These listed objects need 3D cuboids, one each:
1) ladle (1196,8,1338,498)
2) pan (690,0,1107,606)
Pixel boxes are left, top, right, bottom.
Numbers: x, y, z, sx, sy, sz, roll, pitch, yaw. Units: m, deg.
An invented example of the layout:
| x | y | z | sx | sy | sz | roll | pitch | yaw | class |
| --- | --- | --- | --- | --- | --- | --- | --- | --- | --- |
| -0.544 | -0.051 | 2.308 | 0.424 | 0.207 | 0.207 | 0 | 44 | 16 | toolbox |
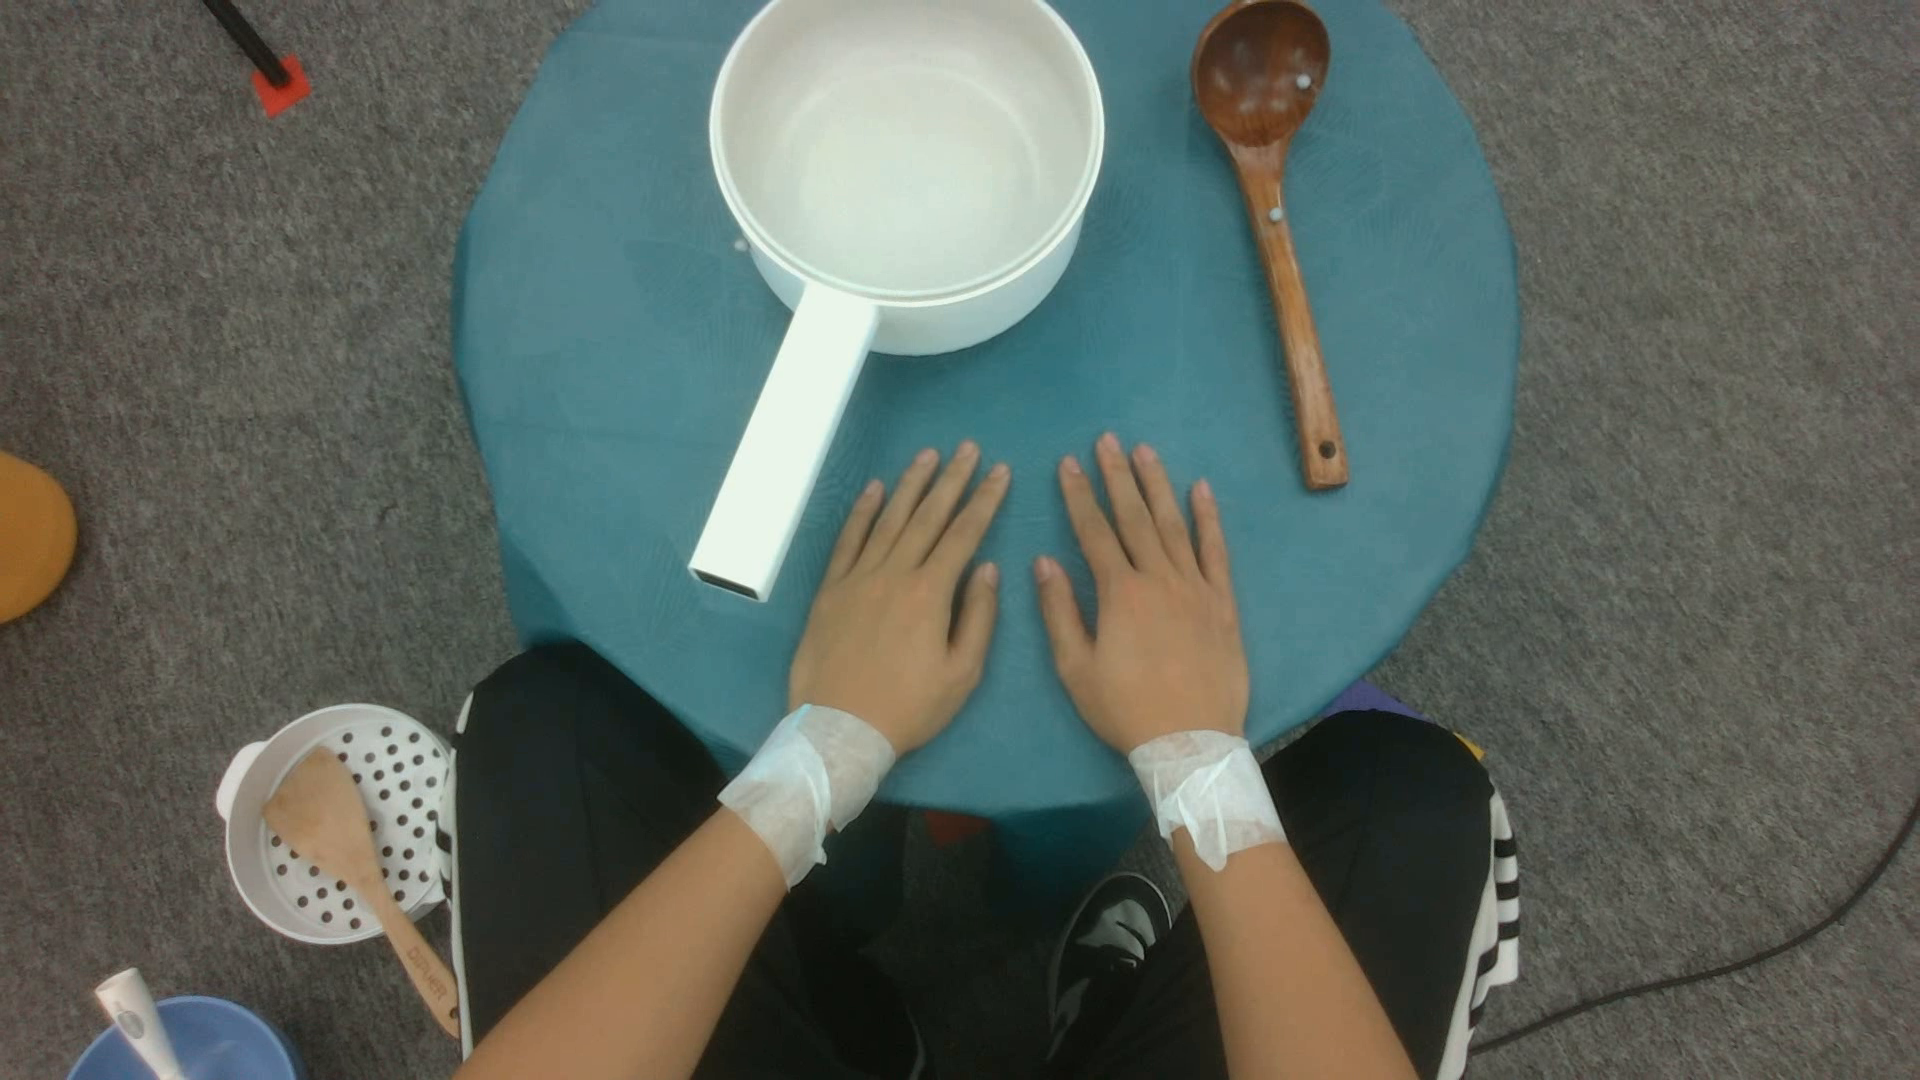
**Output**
| x | y | z | sx | sy | sz | roll | pitch | yaw | class |
| --- | --- | --- | --- | --- | --- | --- | --- | --- | --- |
| 0.187 | -0.164 | 0.764 | 0.082 | 0.076 | 0.274 | -5 | 73 | -2 | ladle |
| -0.049 | -0.127 | 0.744 | 0.201 | 0.102 | 0.355 | 19 | 76 | 5 | pan |
